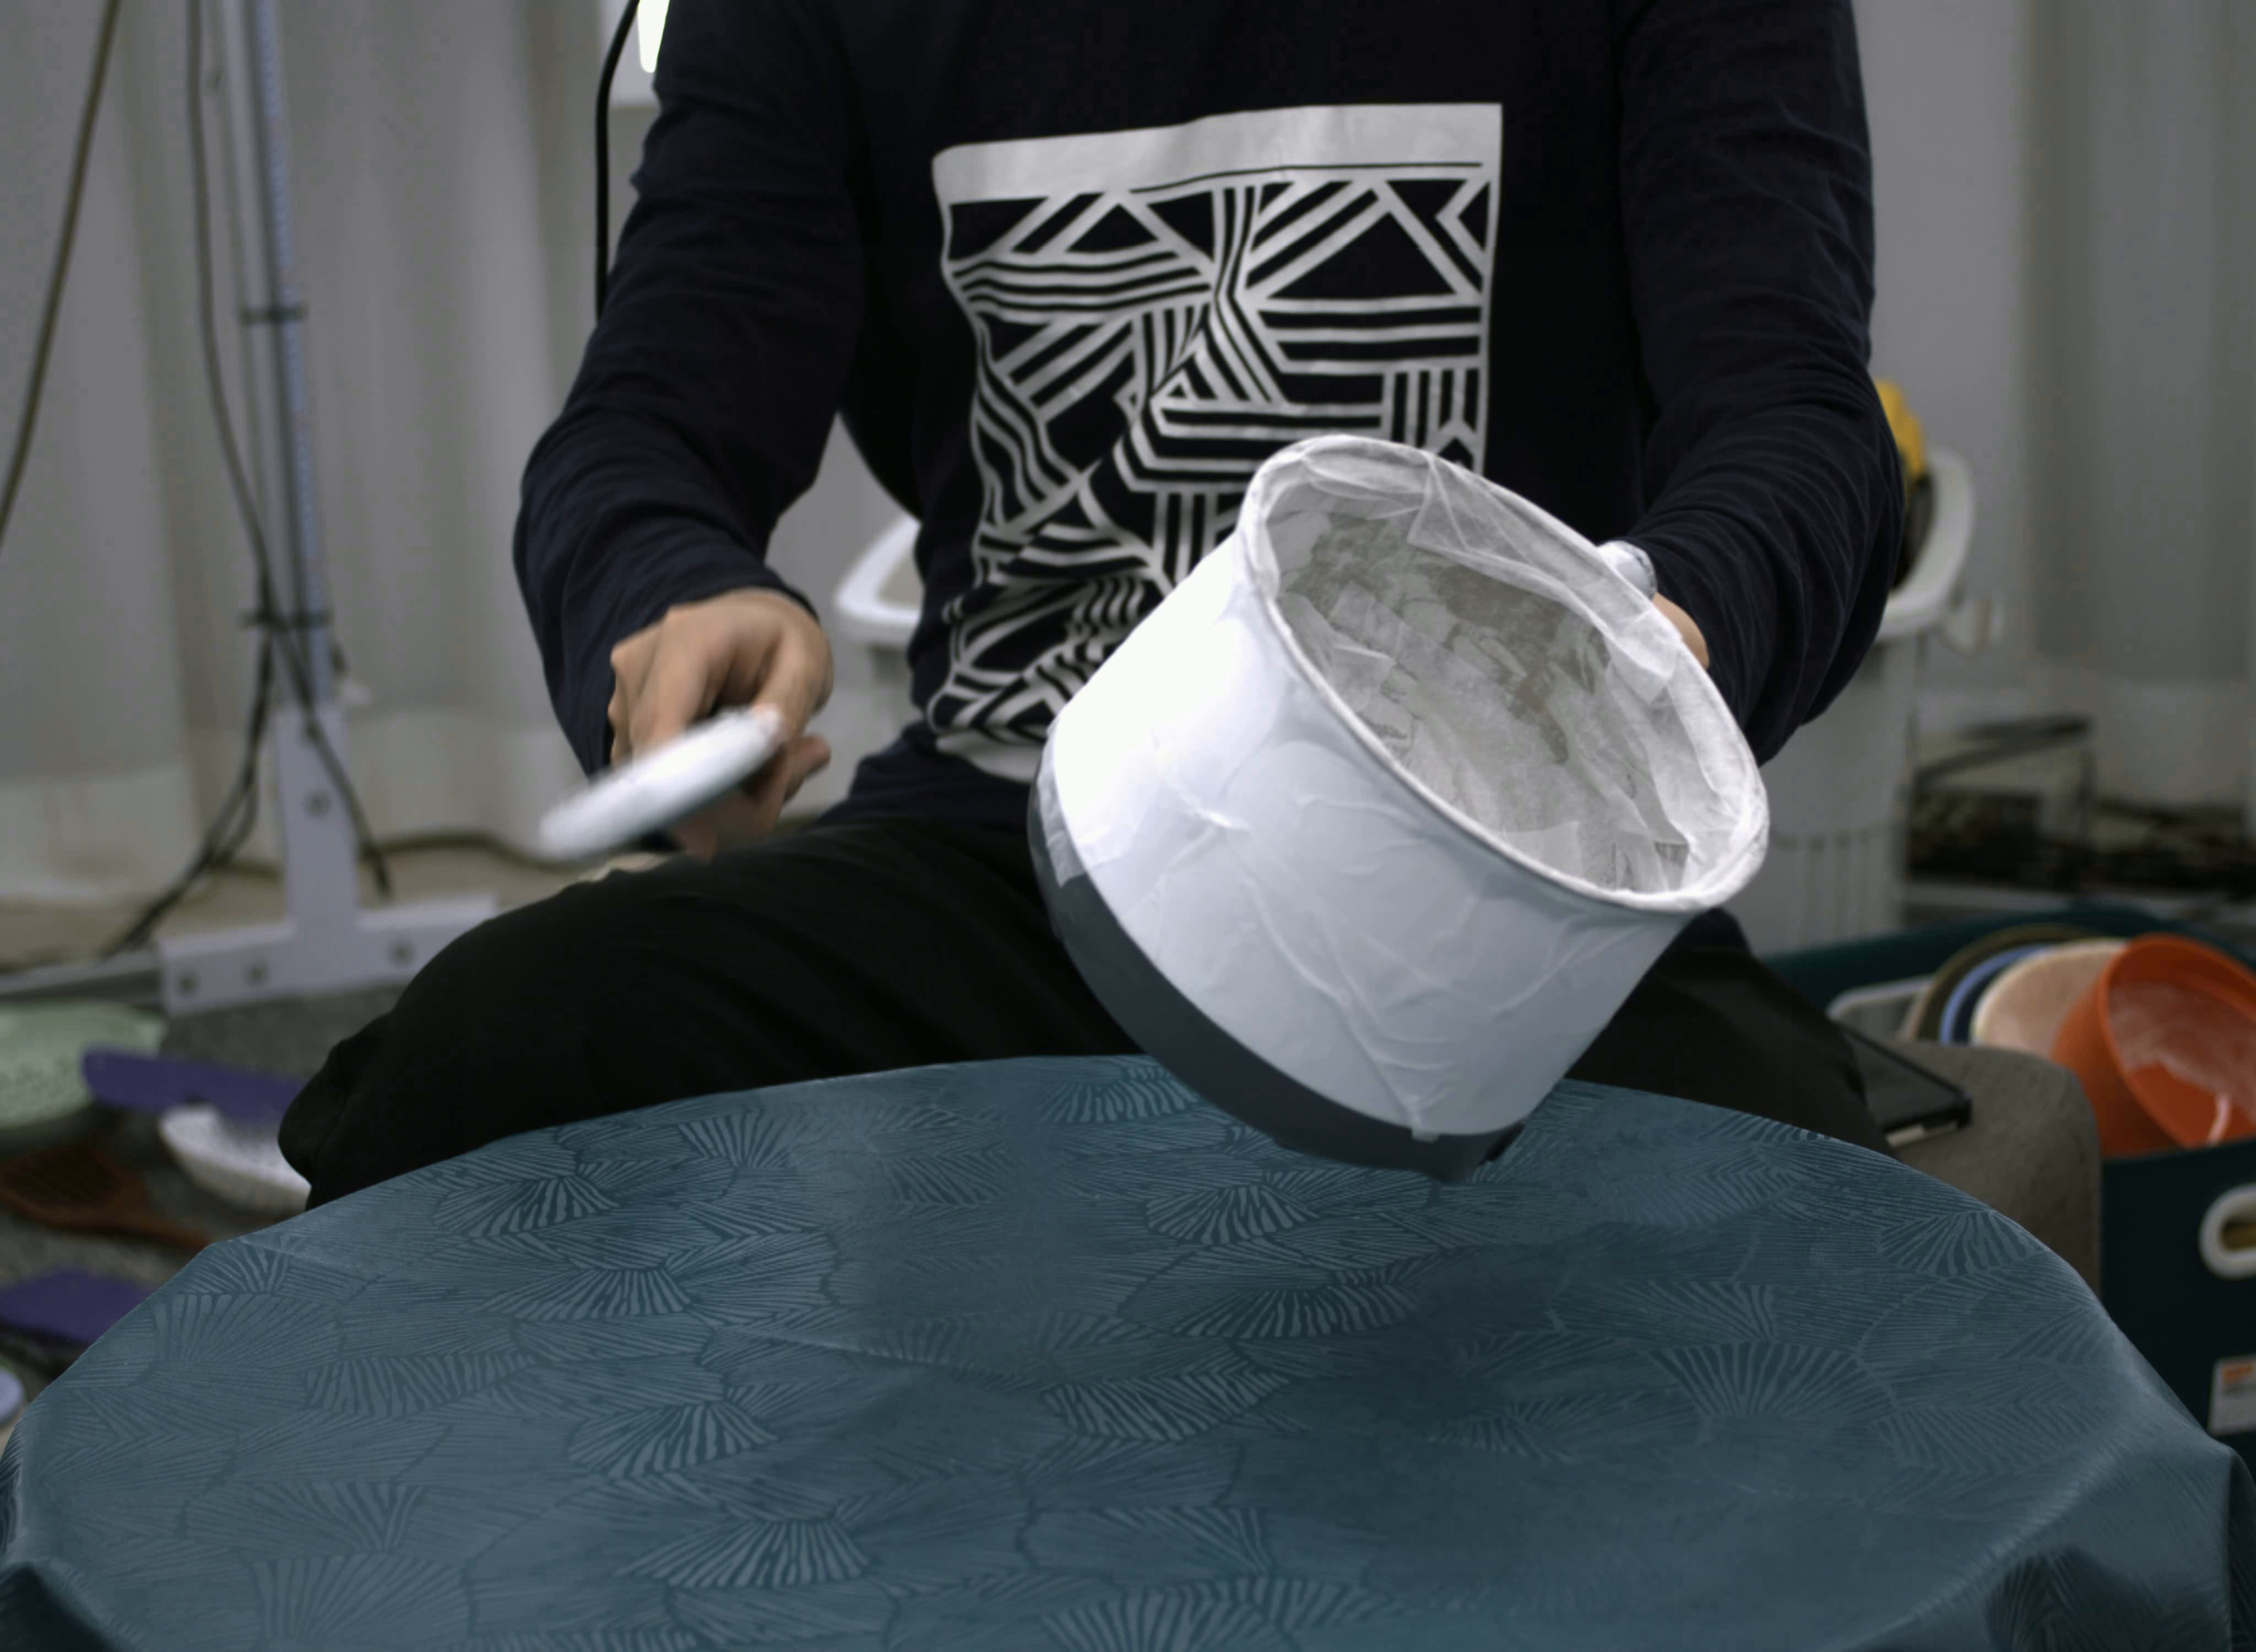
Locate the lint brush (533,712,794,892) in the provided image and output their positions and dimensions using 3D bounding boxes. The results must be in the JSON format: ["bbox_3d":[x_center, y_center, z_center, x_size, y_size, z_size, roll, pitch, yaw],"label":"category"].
[{"bbox_3d":[-0.132,-0.013,1.667,0.060,0.021,0.309,-33,2,6],"label":"lint brush"}]

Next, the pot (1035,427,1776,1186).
[{"bbox_3d":[0.084,-0.013,1.558,0.179,0.136,0.234,45,31,4],"label":"pot"}]
